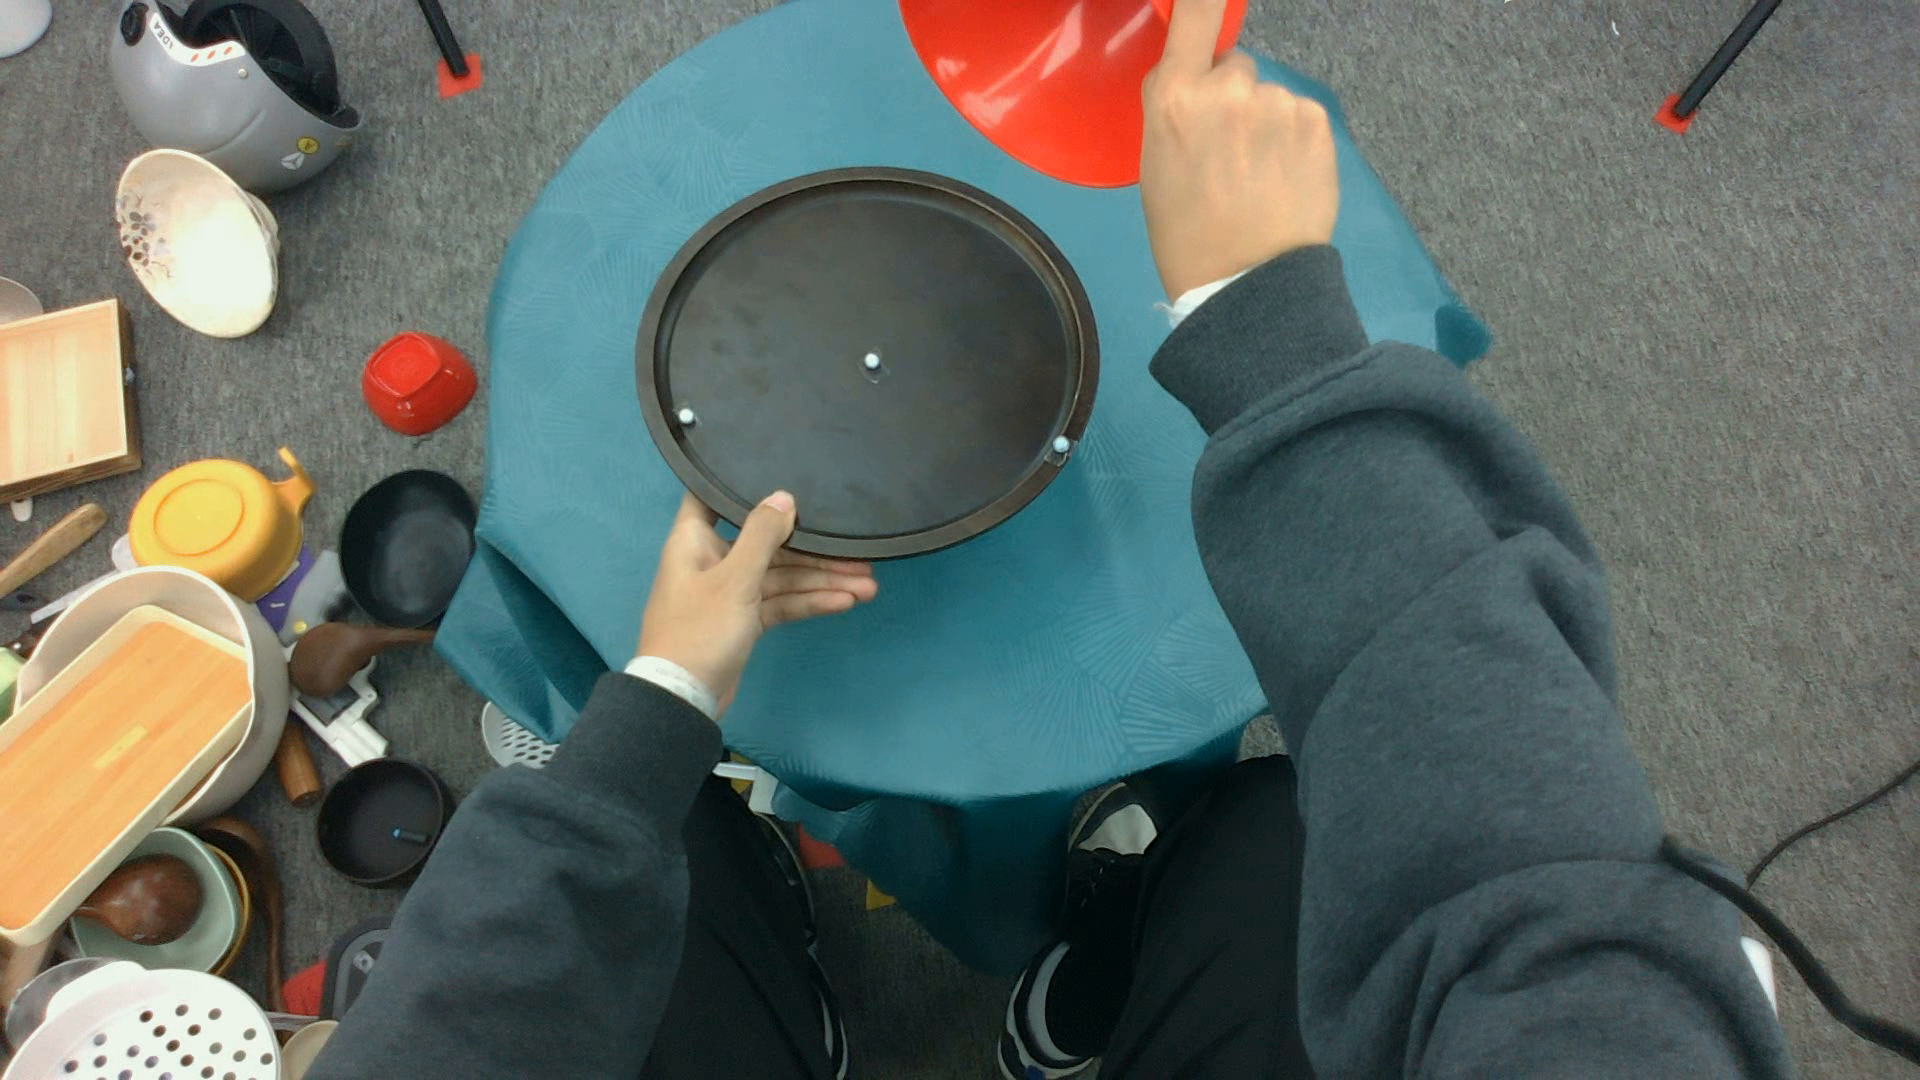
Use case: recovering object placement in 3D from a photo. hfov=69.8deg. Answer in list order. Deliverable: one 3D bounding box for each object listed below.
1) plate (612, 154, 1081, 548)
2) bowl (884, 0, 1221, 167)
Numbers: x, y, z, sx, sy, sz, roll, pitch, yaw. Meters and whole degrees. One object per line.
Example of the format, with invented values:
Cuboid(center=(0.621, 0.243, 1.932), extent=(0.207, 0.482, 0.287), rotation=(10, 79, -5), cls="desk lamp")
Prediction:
Cuboid(center=(-0.061, -0.109, 0.753), extent=(0.255, 0.029, 0.255), rotation=(2, 64, -3), cls="plate")
Cuboid(center=(0.051, -0.246, 0.599), extent=(0.148, 0.147, 0.105), rotation=(40, 75, 15), cls="bowl")
